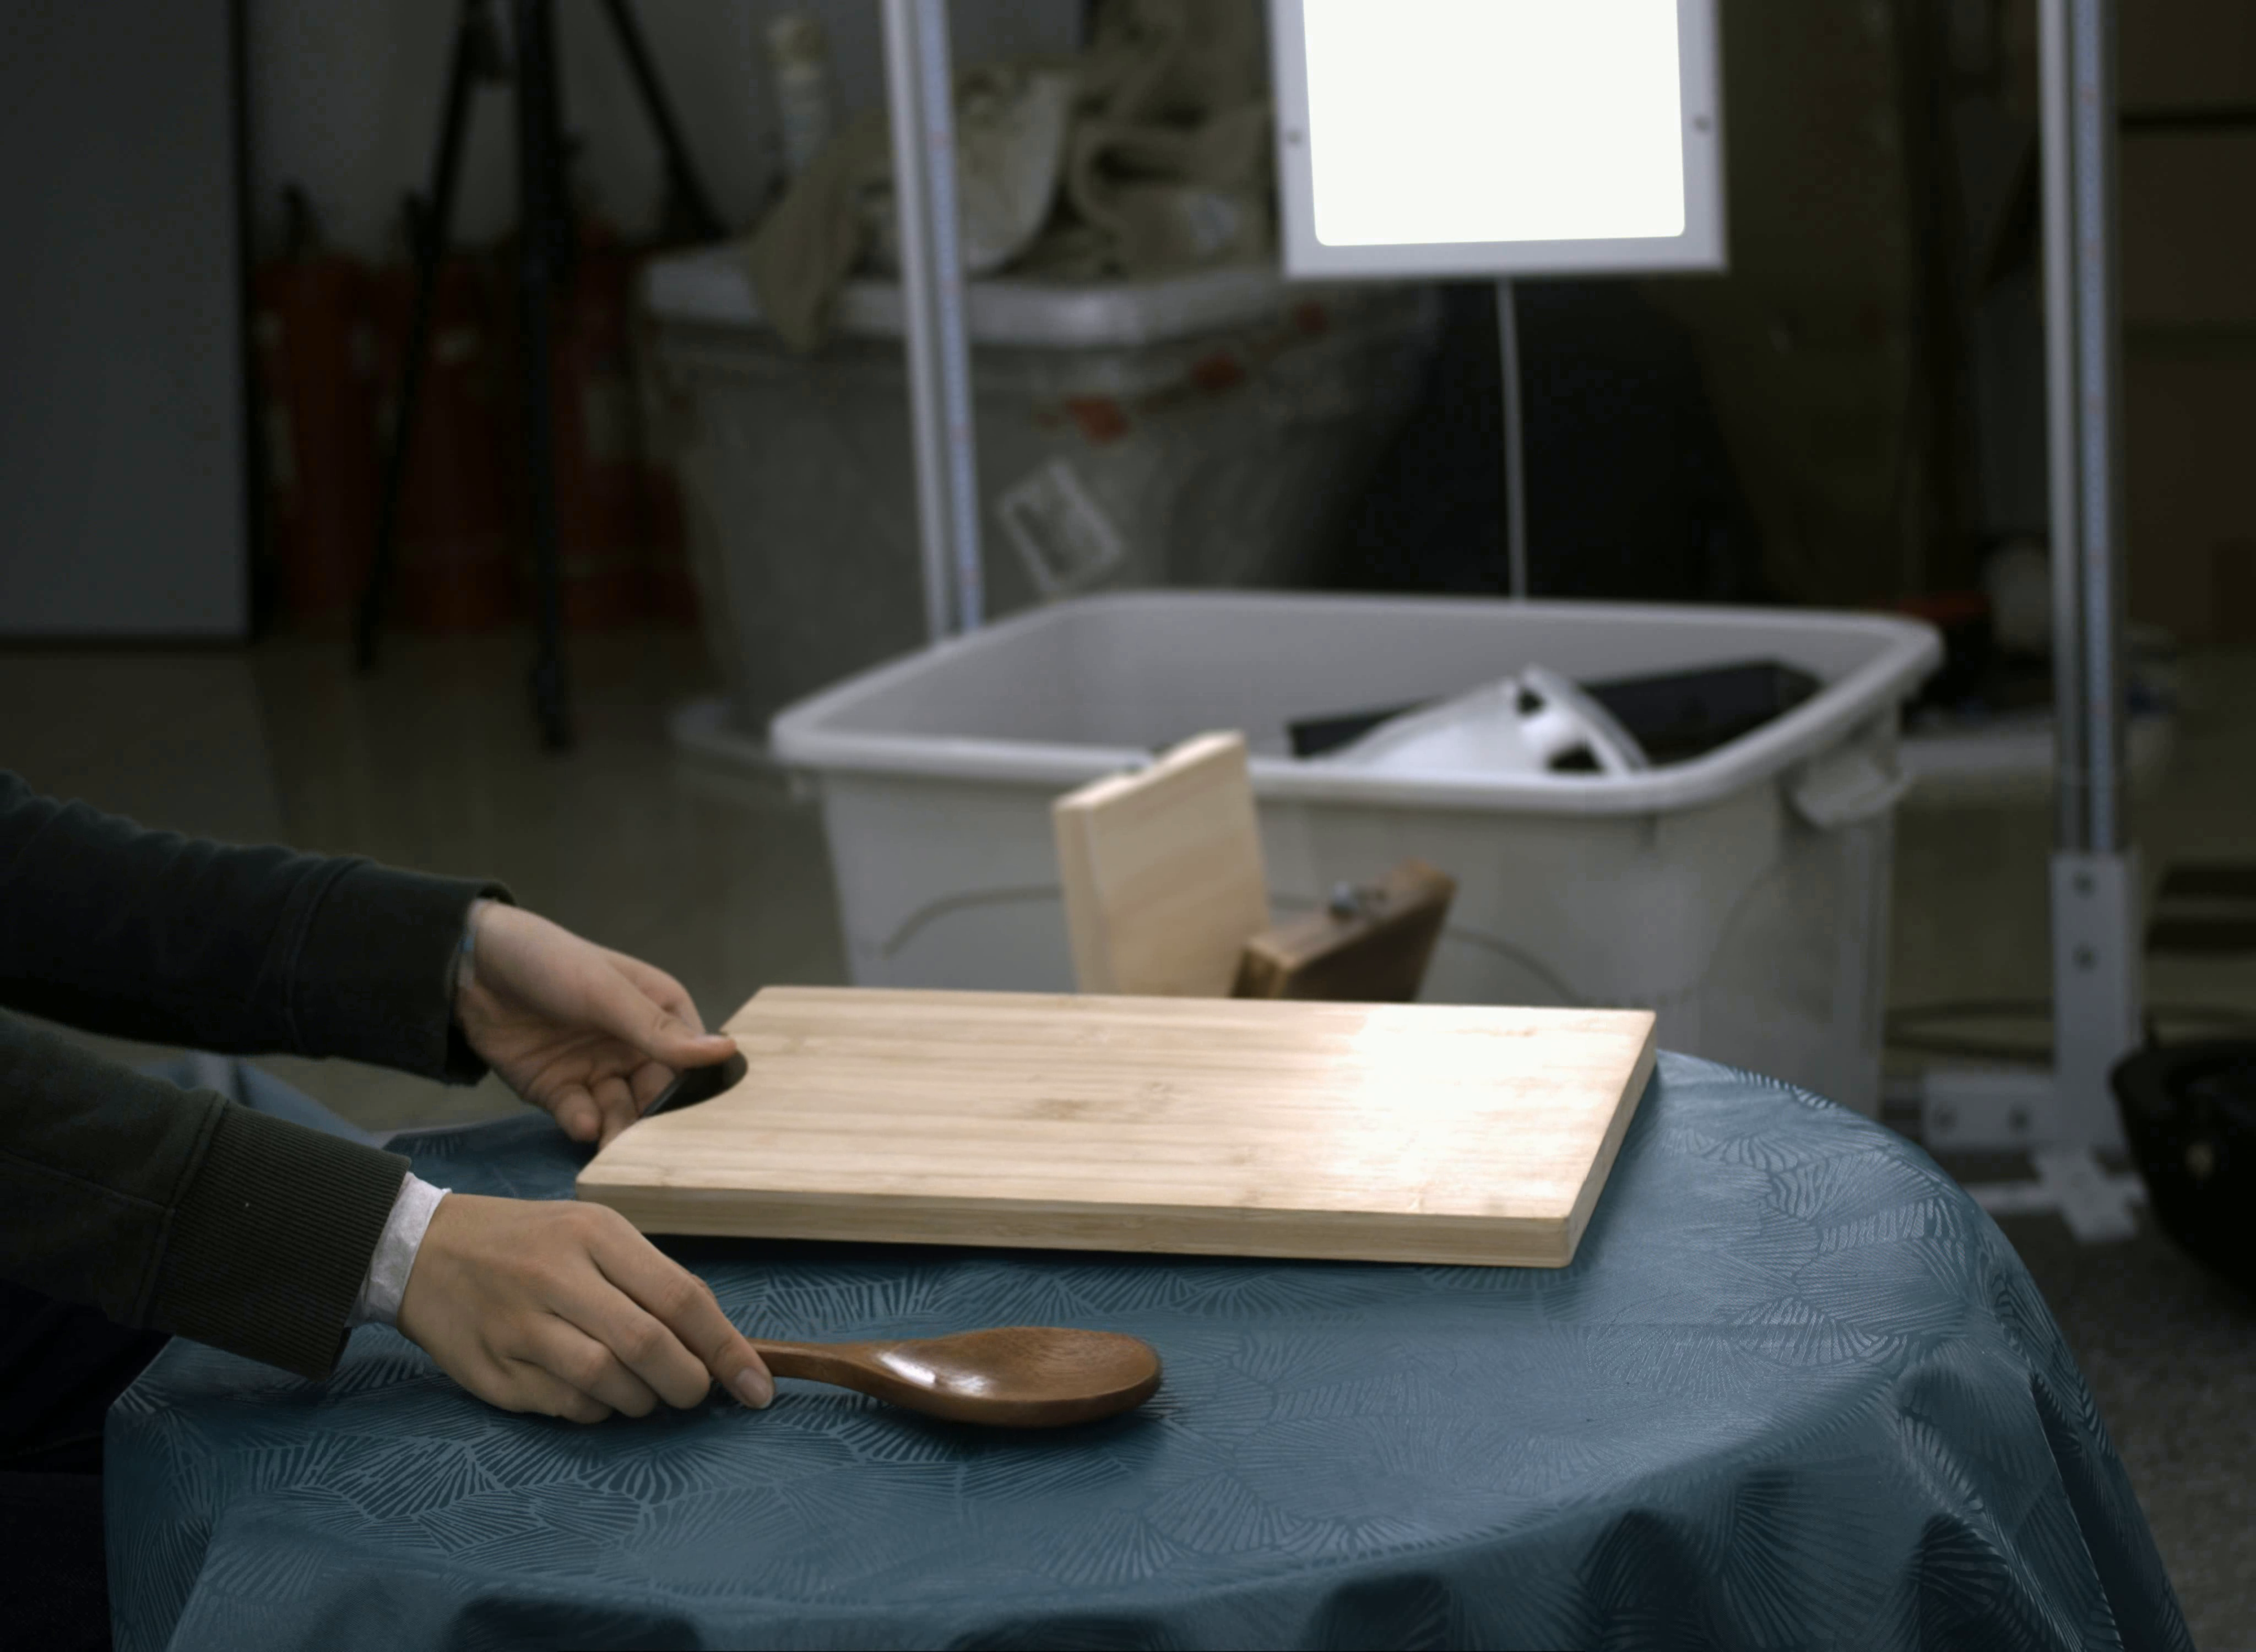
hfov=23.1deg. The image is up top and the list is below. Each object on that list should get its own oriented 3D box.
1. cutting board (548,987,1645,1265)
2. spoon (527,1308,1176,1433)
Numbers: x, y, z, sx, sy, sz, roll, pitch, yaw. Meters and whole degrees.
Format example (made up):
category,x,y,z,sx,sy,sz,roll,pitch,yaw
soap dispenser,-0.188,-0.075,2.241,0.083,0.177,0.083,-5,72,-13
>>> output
category,x,y,z,sx,sy,sz,roll,pitch,yaw
cutting board,-0.004,0.102,1.933,0.351,0.024,0.247,1,14,13
spoon,-0.088,0.167,1.715,0.219,0.017,0.074,3,16,22
